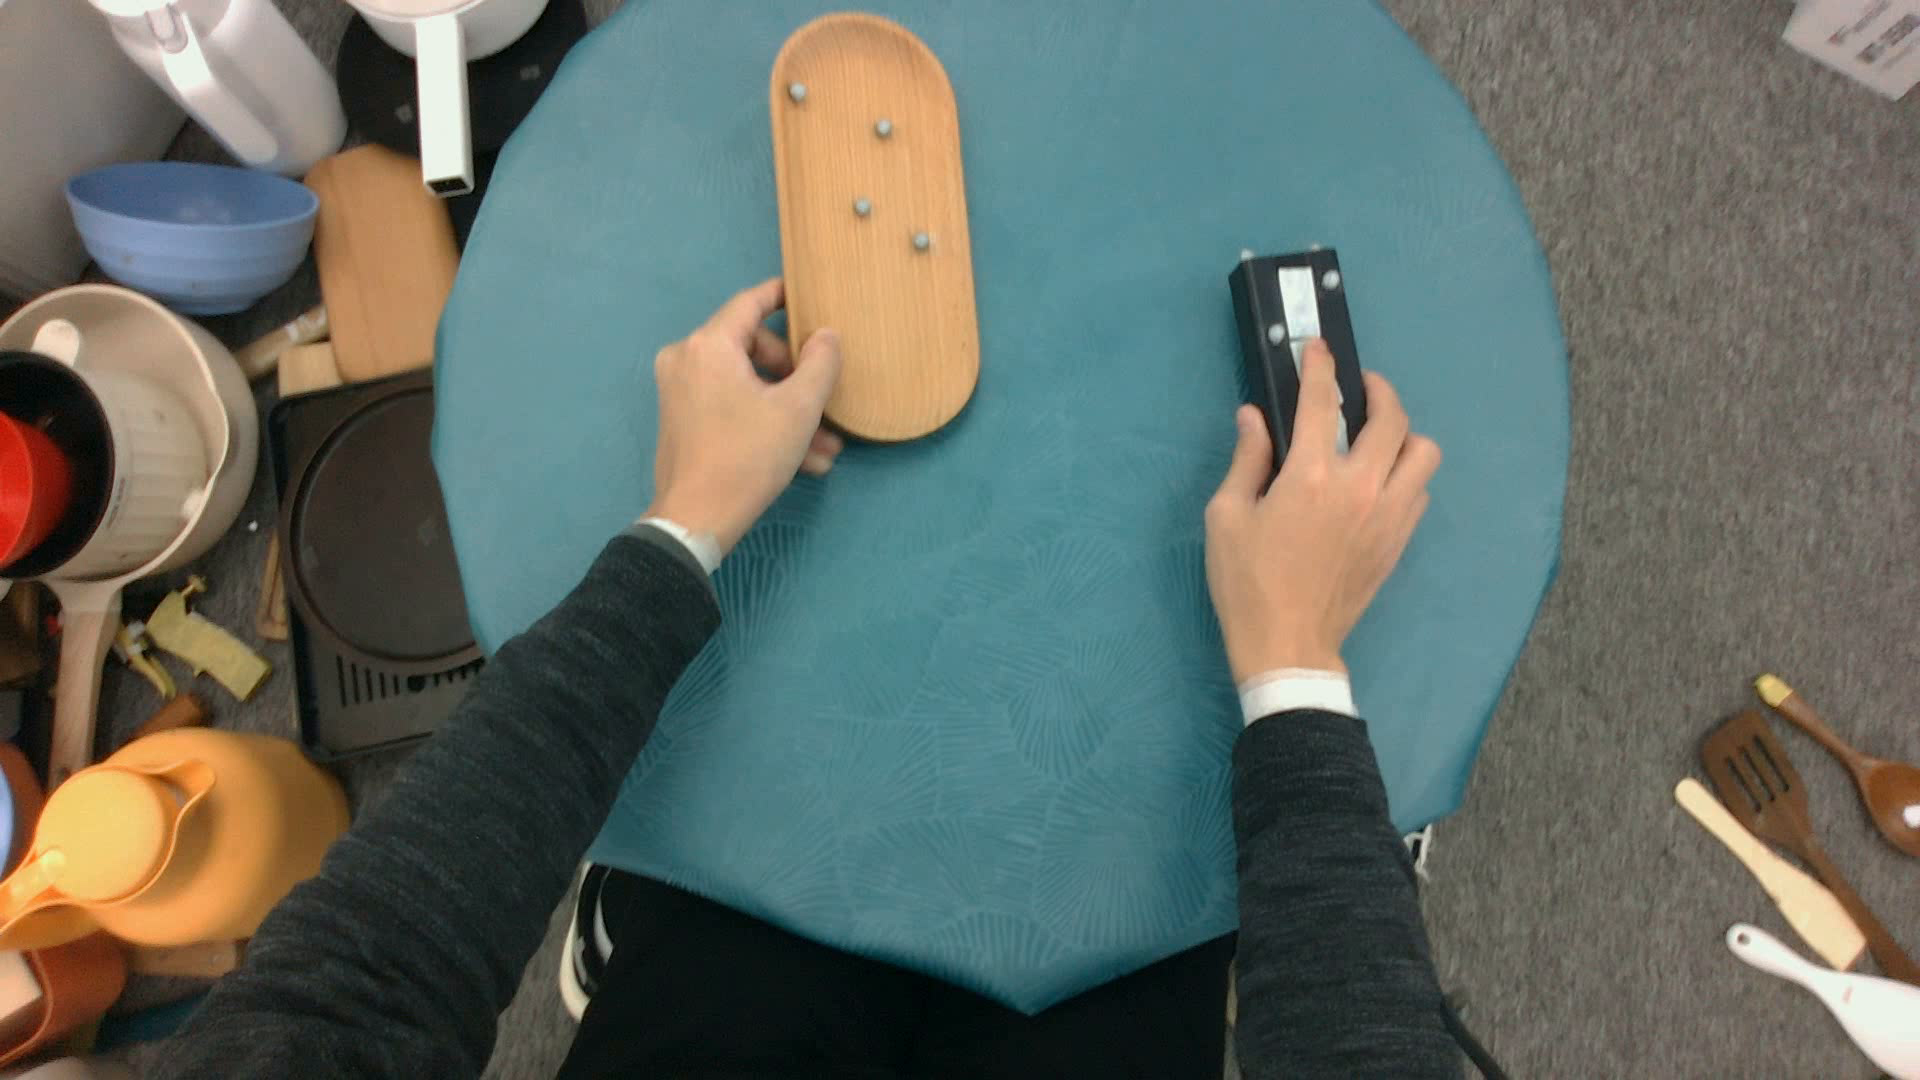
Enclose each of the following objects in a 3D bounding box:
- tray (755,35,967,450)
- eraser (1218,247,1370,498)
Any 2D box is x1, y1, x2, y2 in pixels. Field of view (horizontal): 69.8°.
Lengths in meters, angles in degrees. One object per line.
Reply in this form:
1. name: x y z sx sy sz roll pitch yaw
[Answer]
1. tray: -0.053 -0.159 0.729 0.102 0.020 0.231 -3 80 -14
2. eraser: 0.170 -0.086 0.710 0.053 0.030 0.126 -9 78 -2
